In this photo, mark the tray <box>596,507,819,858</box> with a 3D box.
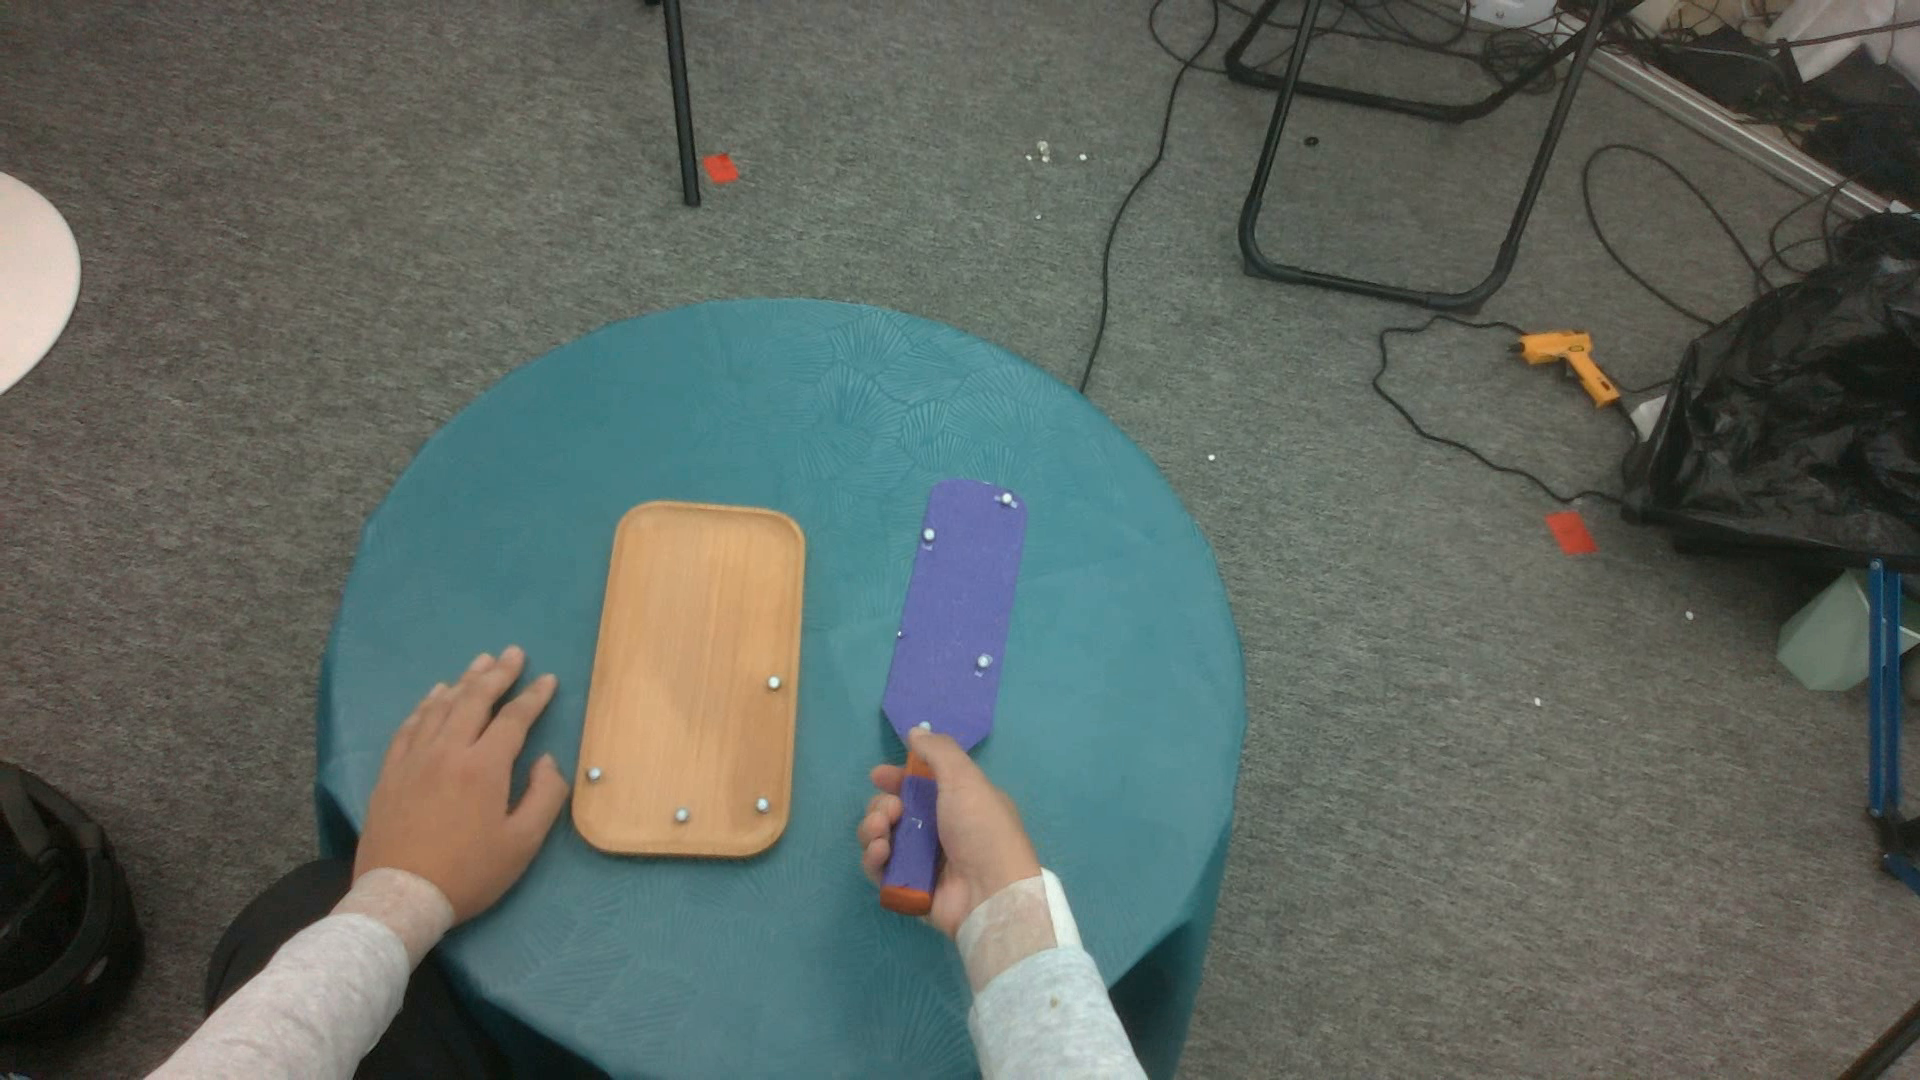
[{"bbox_3d":[-0.160,0.086,0.896,0.130,0.023,0.252,5,55,-10],"label":"tray"}]

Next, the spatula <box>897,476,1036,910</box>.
[{"bbox_3d":[0.002,0.079,0.889,0.075,0.086,0.360,10,30,0],"label":"spatula"}]
